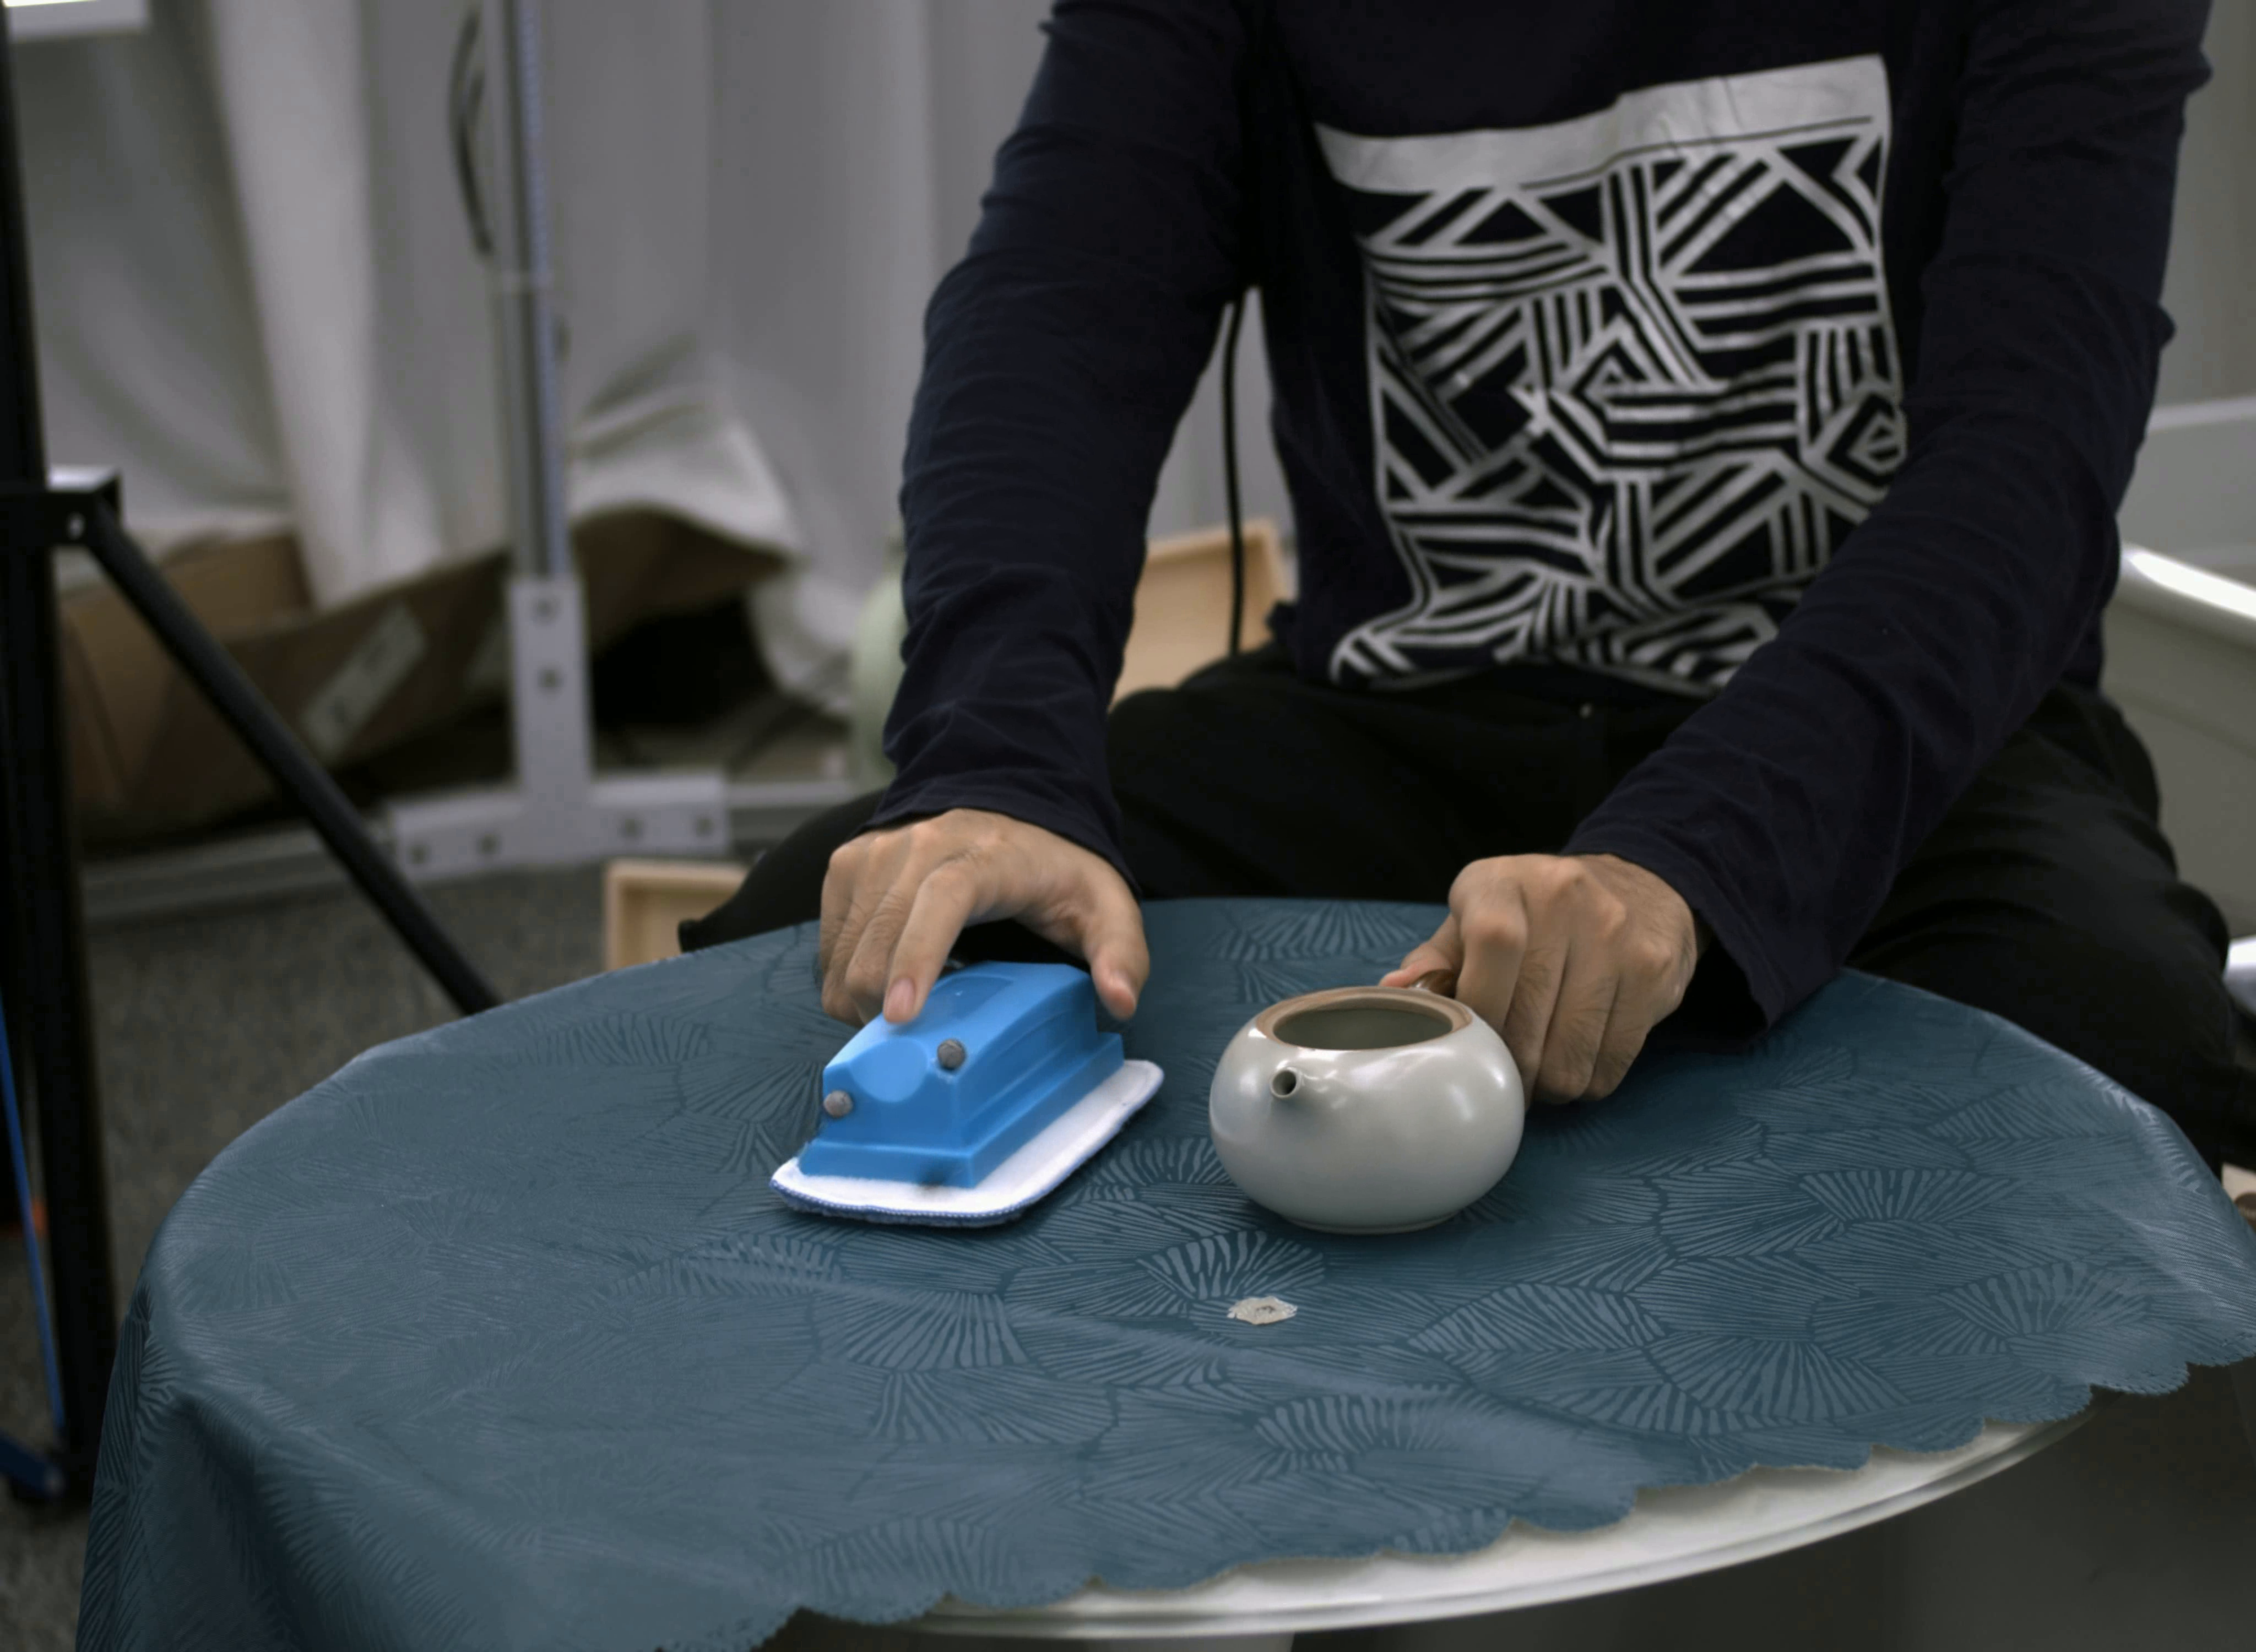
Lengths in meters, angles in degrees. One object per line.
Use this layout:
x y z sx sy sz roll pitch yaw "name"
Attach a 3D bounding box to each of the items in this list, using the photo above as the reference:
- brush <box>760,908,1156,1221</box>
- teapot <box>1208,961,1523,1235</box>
-0.049 0.067 1.590 0.085 0.056 0.142 10 25 20 "brush"
0.073 0.079 1.542 0.093 0.059 0.126 2 18 26 "teapot"
